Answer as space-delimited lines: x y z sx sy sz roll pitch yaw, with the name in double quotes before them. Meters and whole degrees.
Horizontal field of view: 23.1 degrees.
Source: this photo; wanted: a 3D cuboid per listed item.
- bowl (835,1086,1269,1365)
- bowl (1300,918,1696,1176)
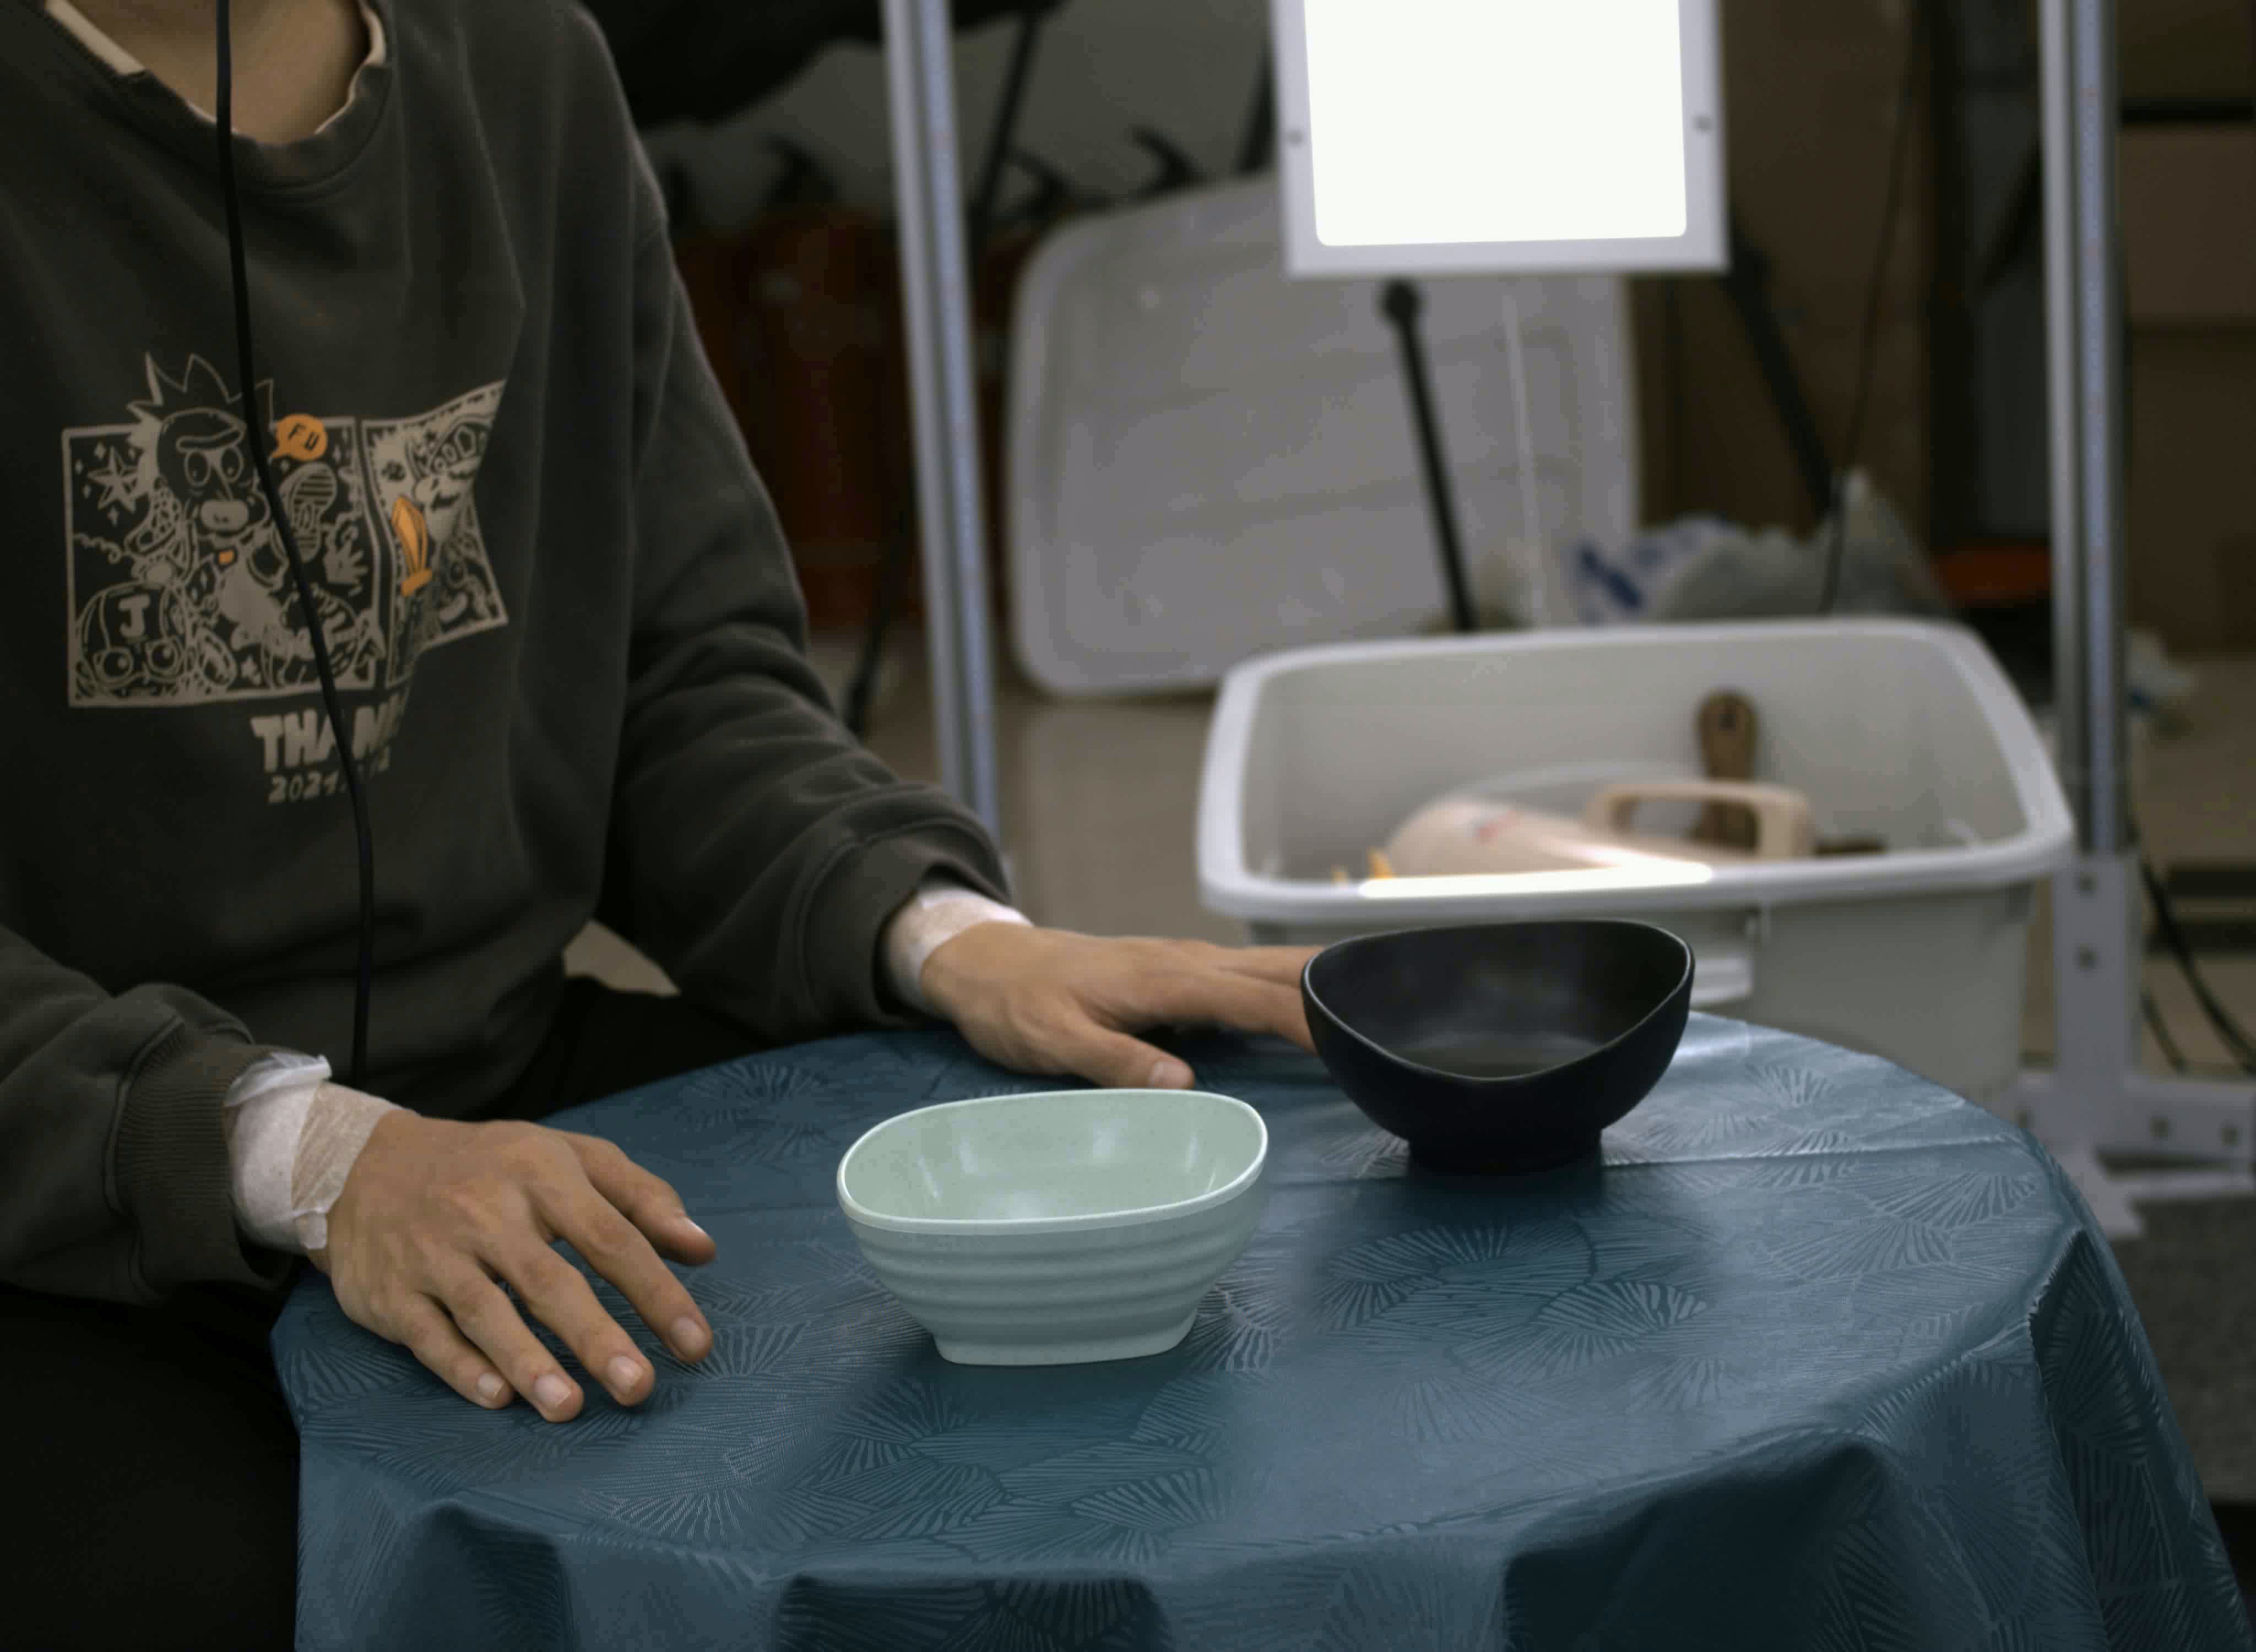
"bowl" -0.023 0.131 1.765 0.151 0.059 0.151 -3 15 -1
"bowl" 0.130 0.080 1.905 0.137 0.067 0.169 -4 15 3
